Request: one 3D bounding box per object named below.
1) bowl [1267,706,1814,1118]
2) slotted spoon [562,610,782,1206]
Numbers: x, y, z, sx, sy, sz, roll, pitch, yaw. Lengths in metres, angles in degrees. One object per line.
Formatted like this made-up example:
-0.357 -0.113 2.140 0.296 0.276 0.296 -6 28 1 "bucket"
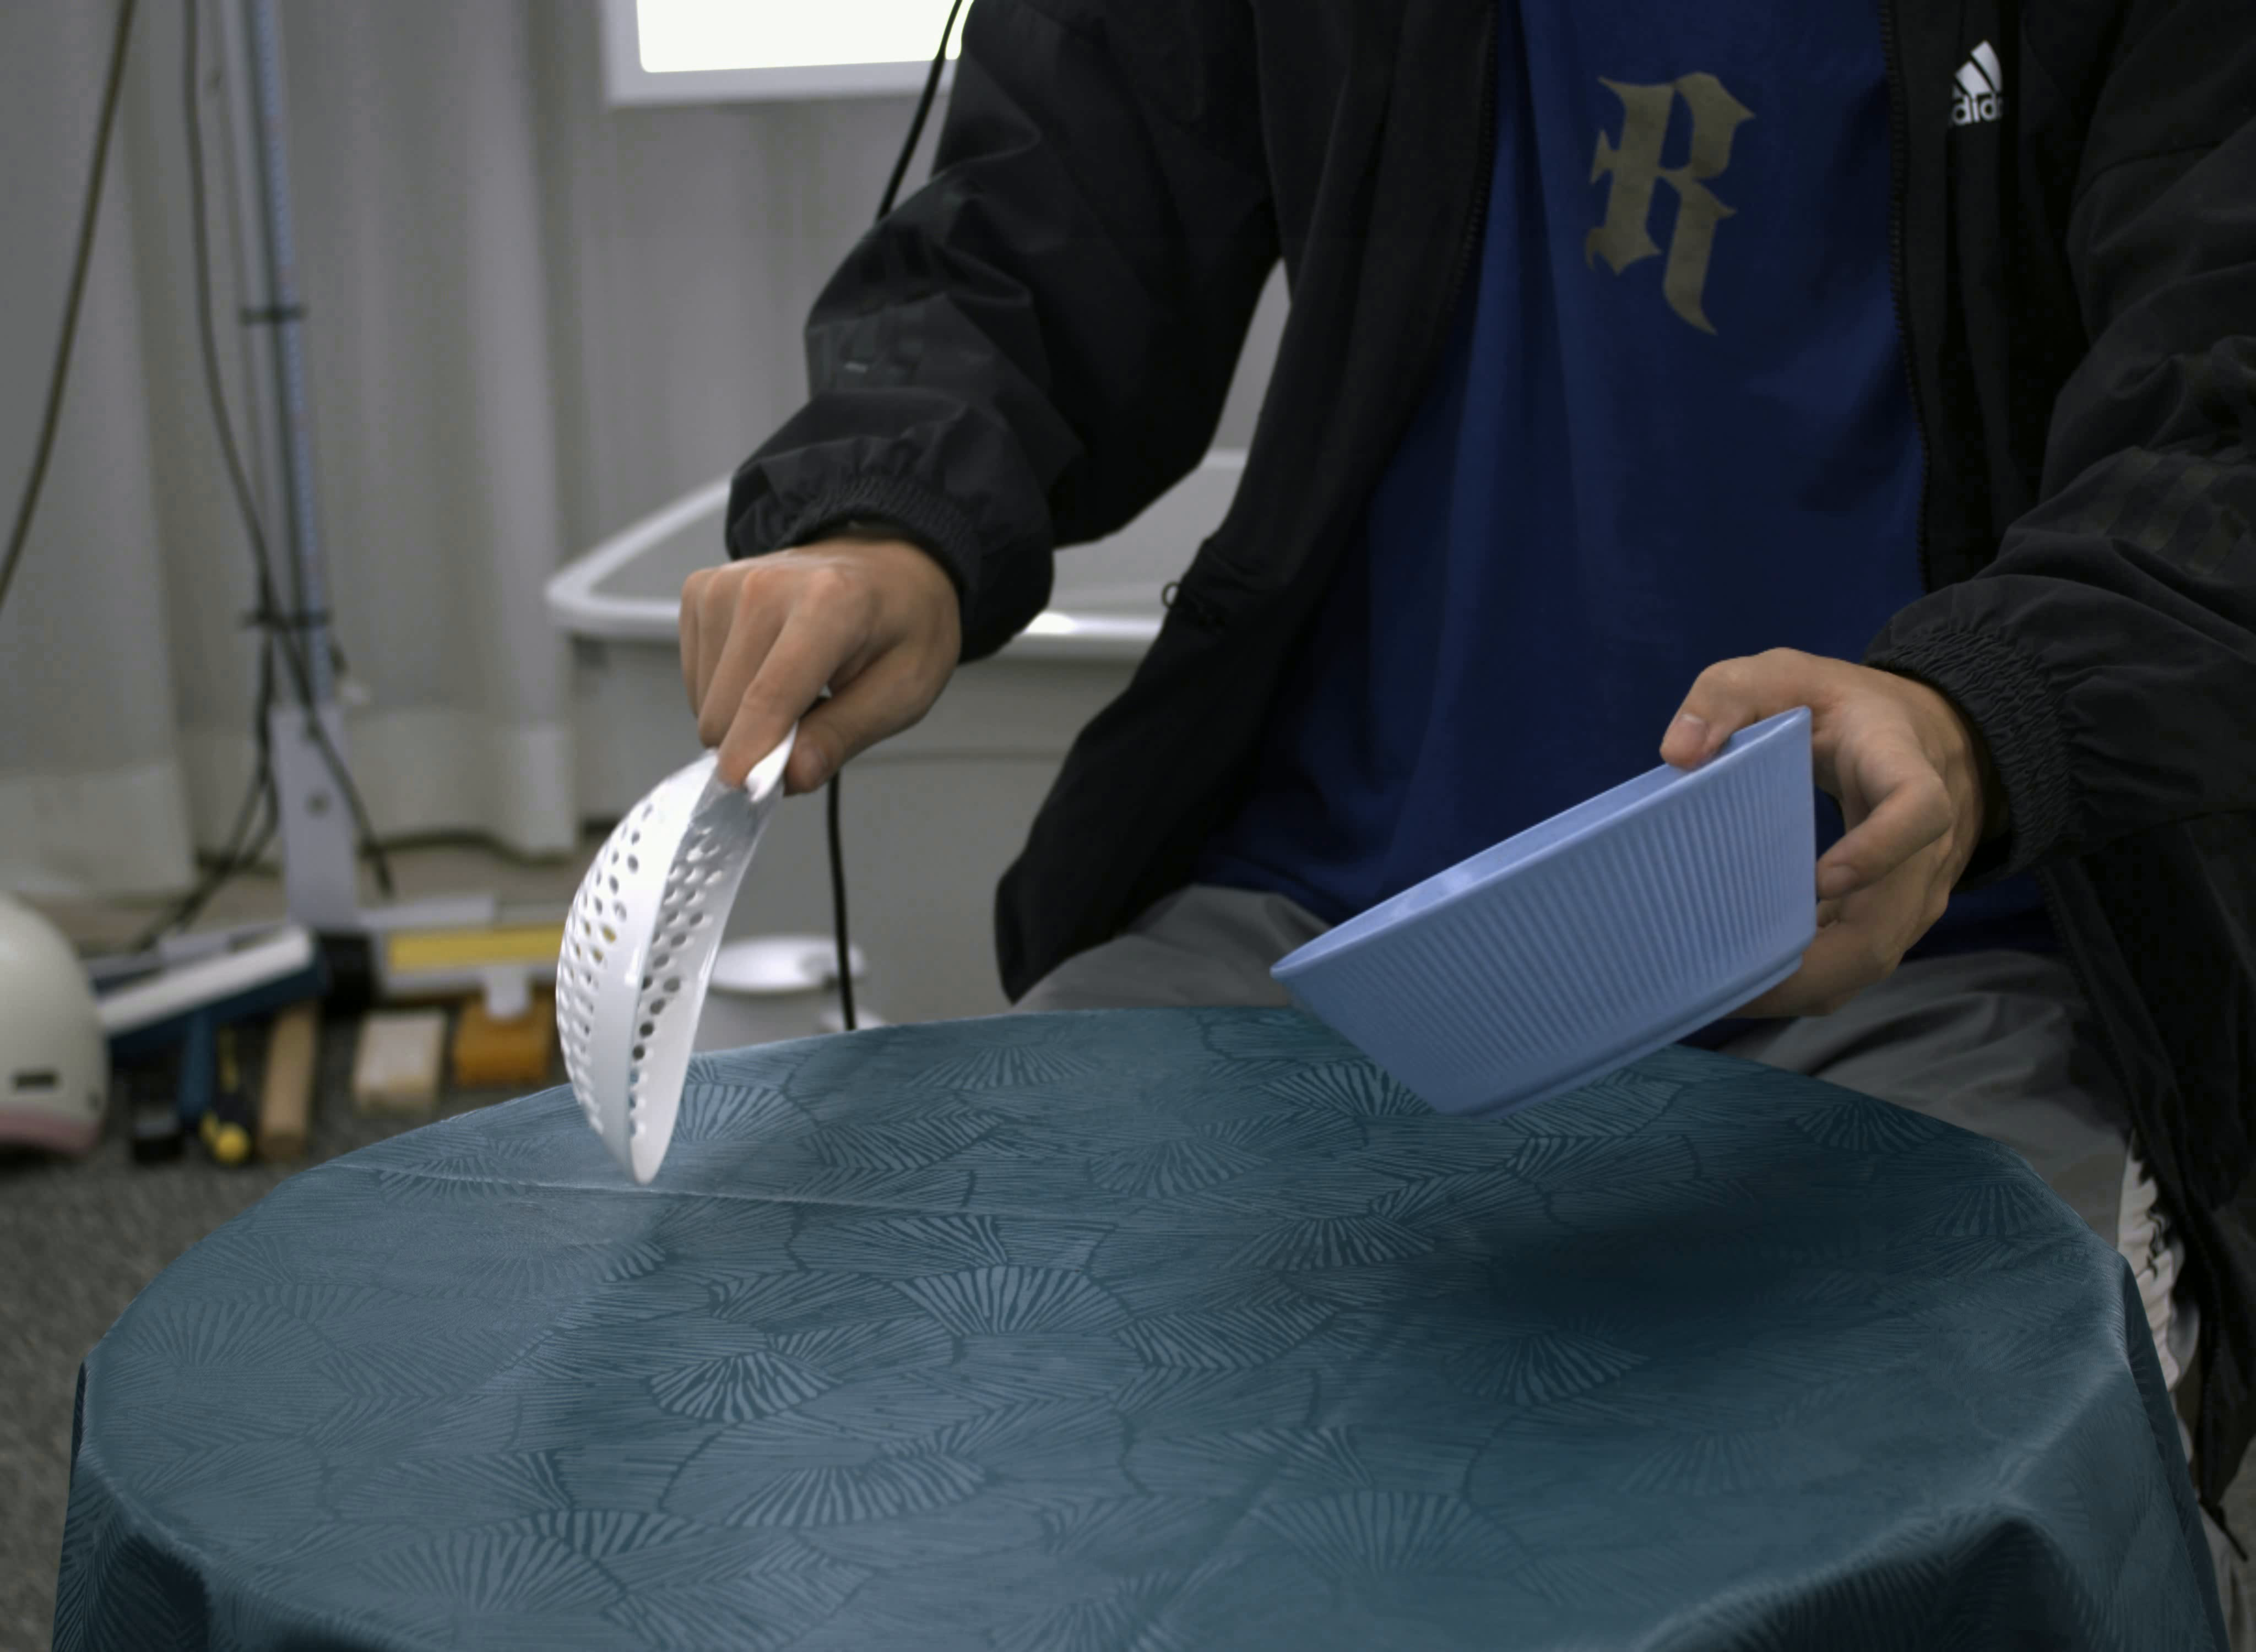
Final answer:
0.133 0.031 1.599 0.176 0.070 0.176 -26 0 -1 "bowl"
-0.138 0.005 1.804 0.050 0.136 0.351 8 23 6 "slotted spoon"
